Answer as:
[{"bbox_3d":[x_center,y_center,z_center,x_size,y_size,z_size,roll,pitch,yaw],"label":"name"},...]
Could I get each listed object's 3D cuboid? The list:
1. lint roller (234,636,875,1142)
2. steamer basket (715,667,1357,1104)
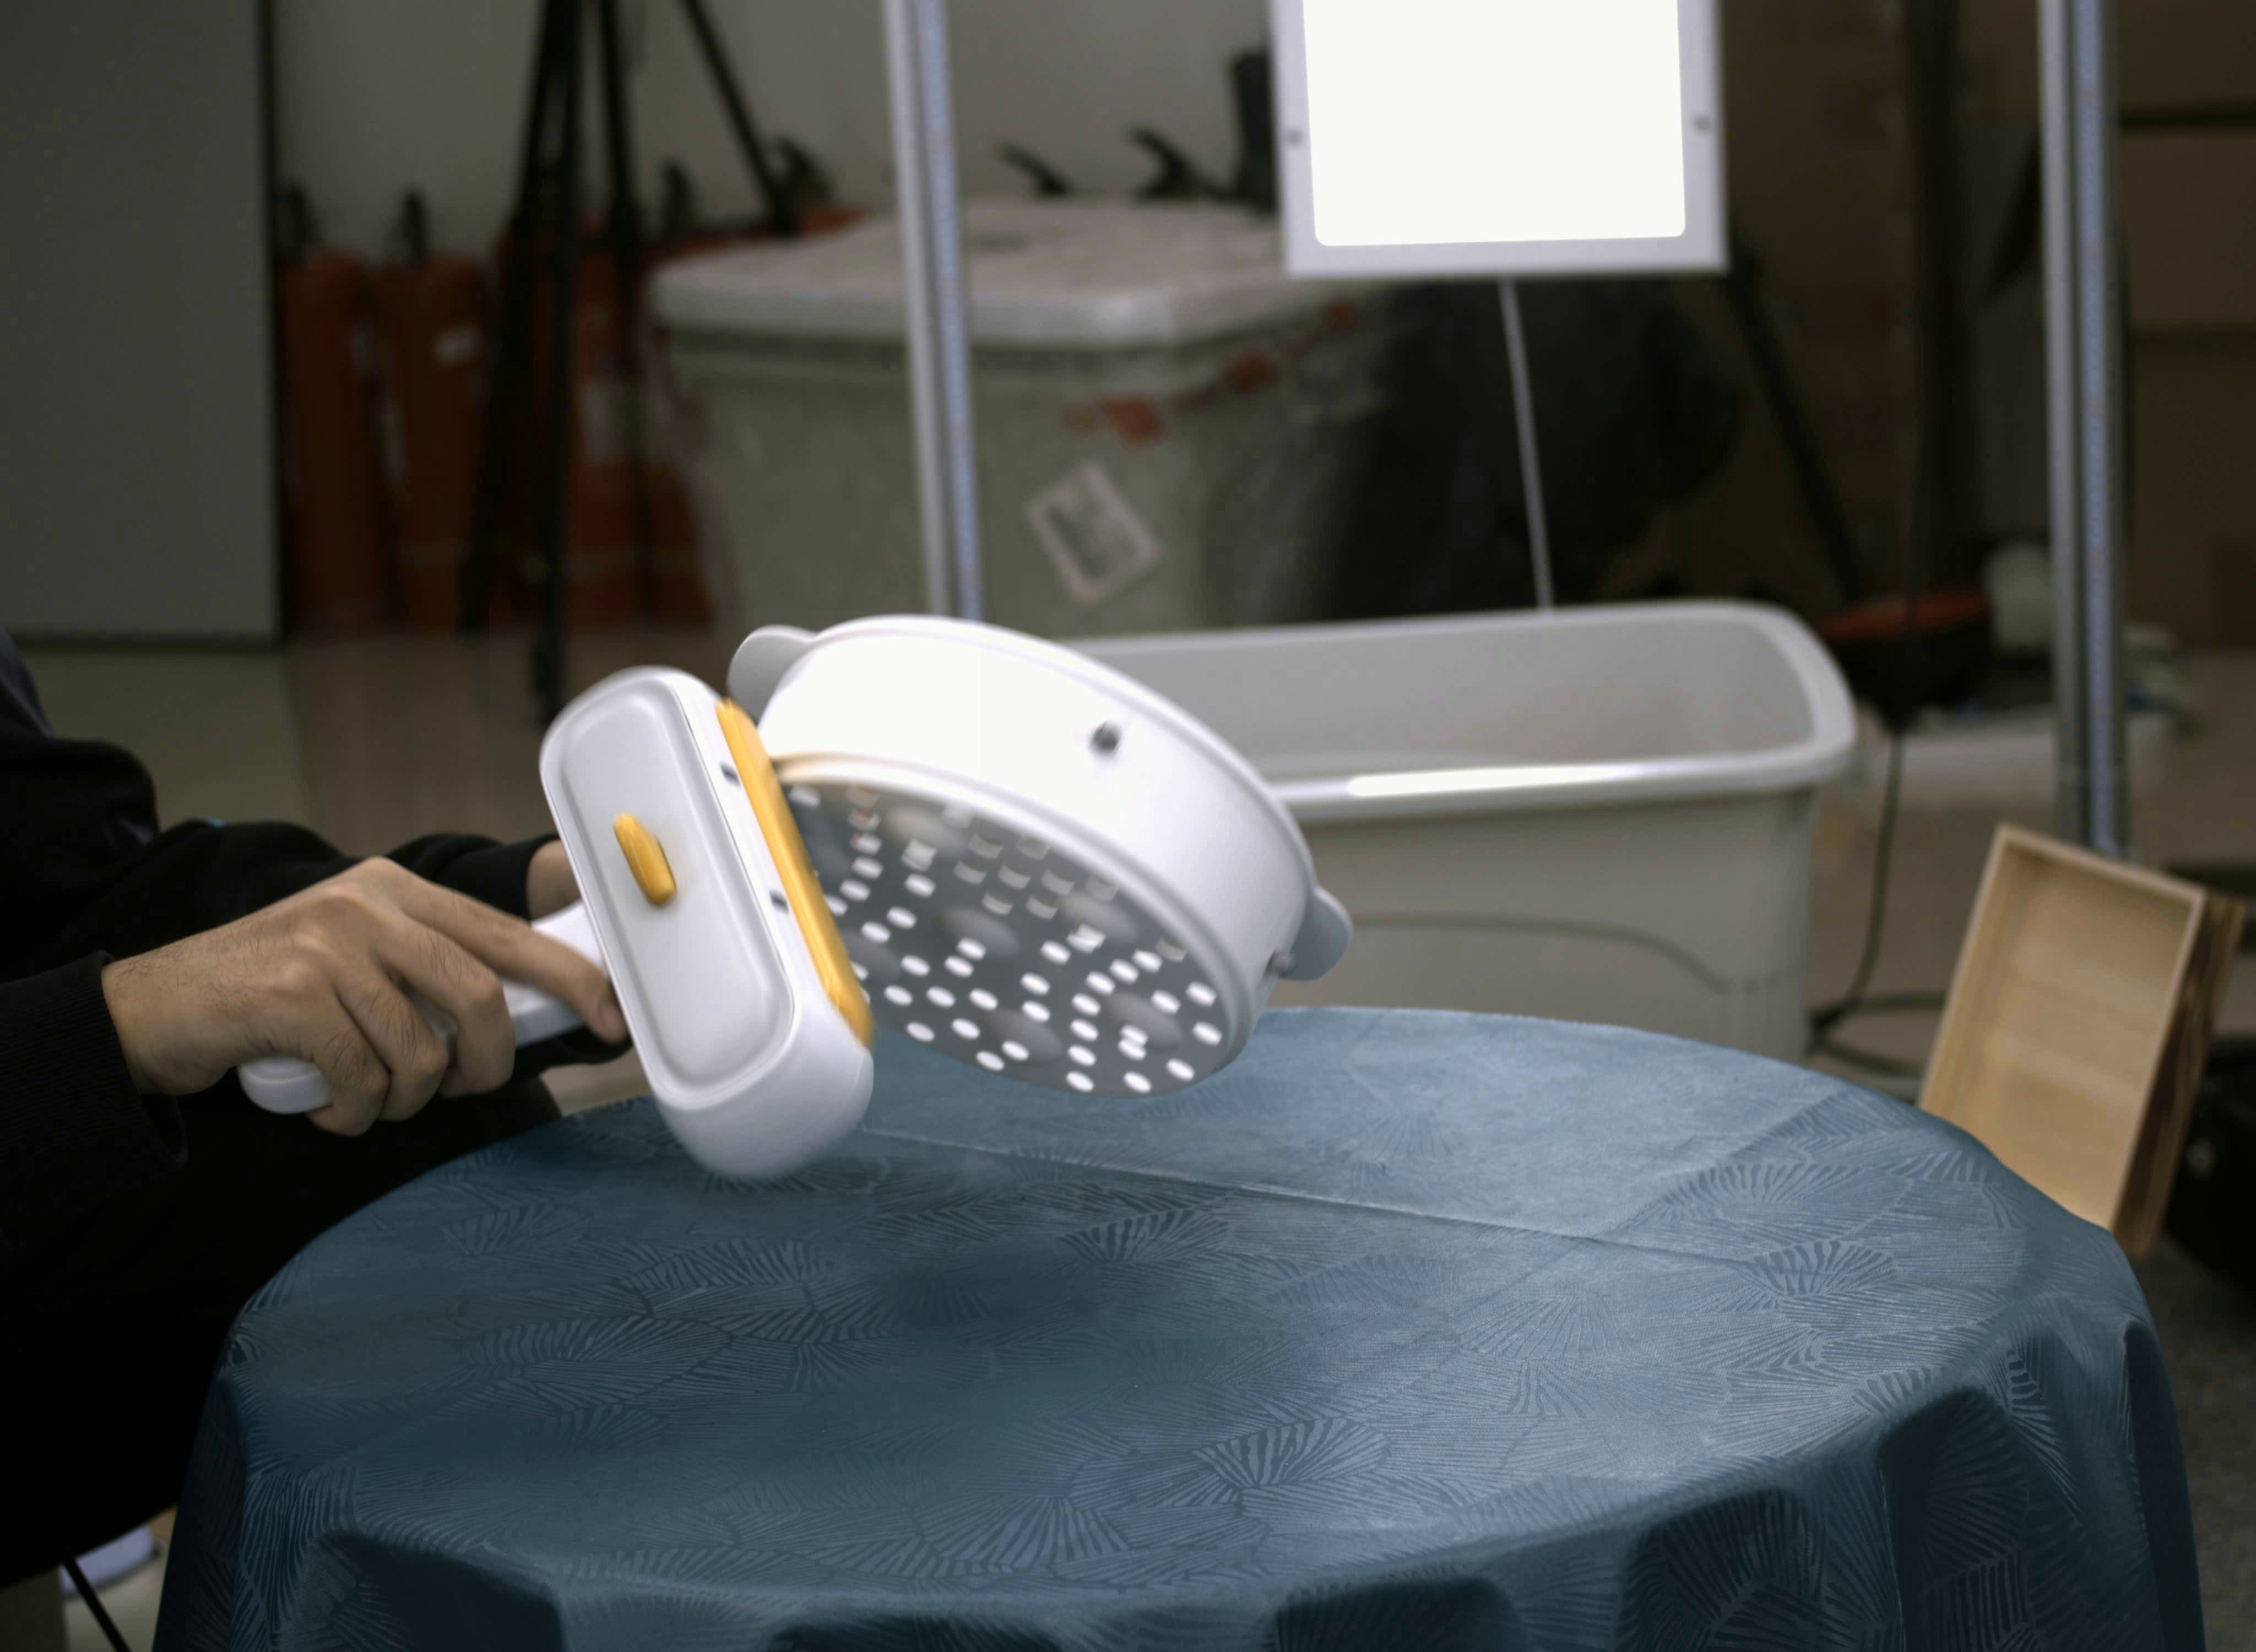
[{"bbox_3d":[-0.191,0.045,1.756,0.192,0.073,0.194,-31,55,3],"label":"lint roller"},{"bbox_3d":[-0.040,0.025,1.838,0.229,0.069,0.204,21,-22,-3],"label":"steamer basket"}]
